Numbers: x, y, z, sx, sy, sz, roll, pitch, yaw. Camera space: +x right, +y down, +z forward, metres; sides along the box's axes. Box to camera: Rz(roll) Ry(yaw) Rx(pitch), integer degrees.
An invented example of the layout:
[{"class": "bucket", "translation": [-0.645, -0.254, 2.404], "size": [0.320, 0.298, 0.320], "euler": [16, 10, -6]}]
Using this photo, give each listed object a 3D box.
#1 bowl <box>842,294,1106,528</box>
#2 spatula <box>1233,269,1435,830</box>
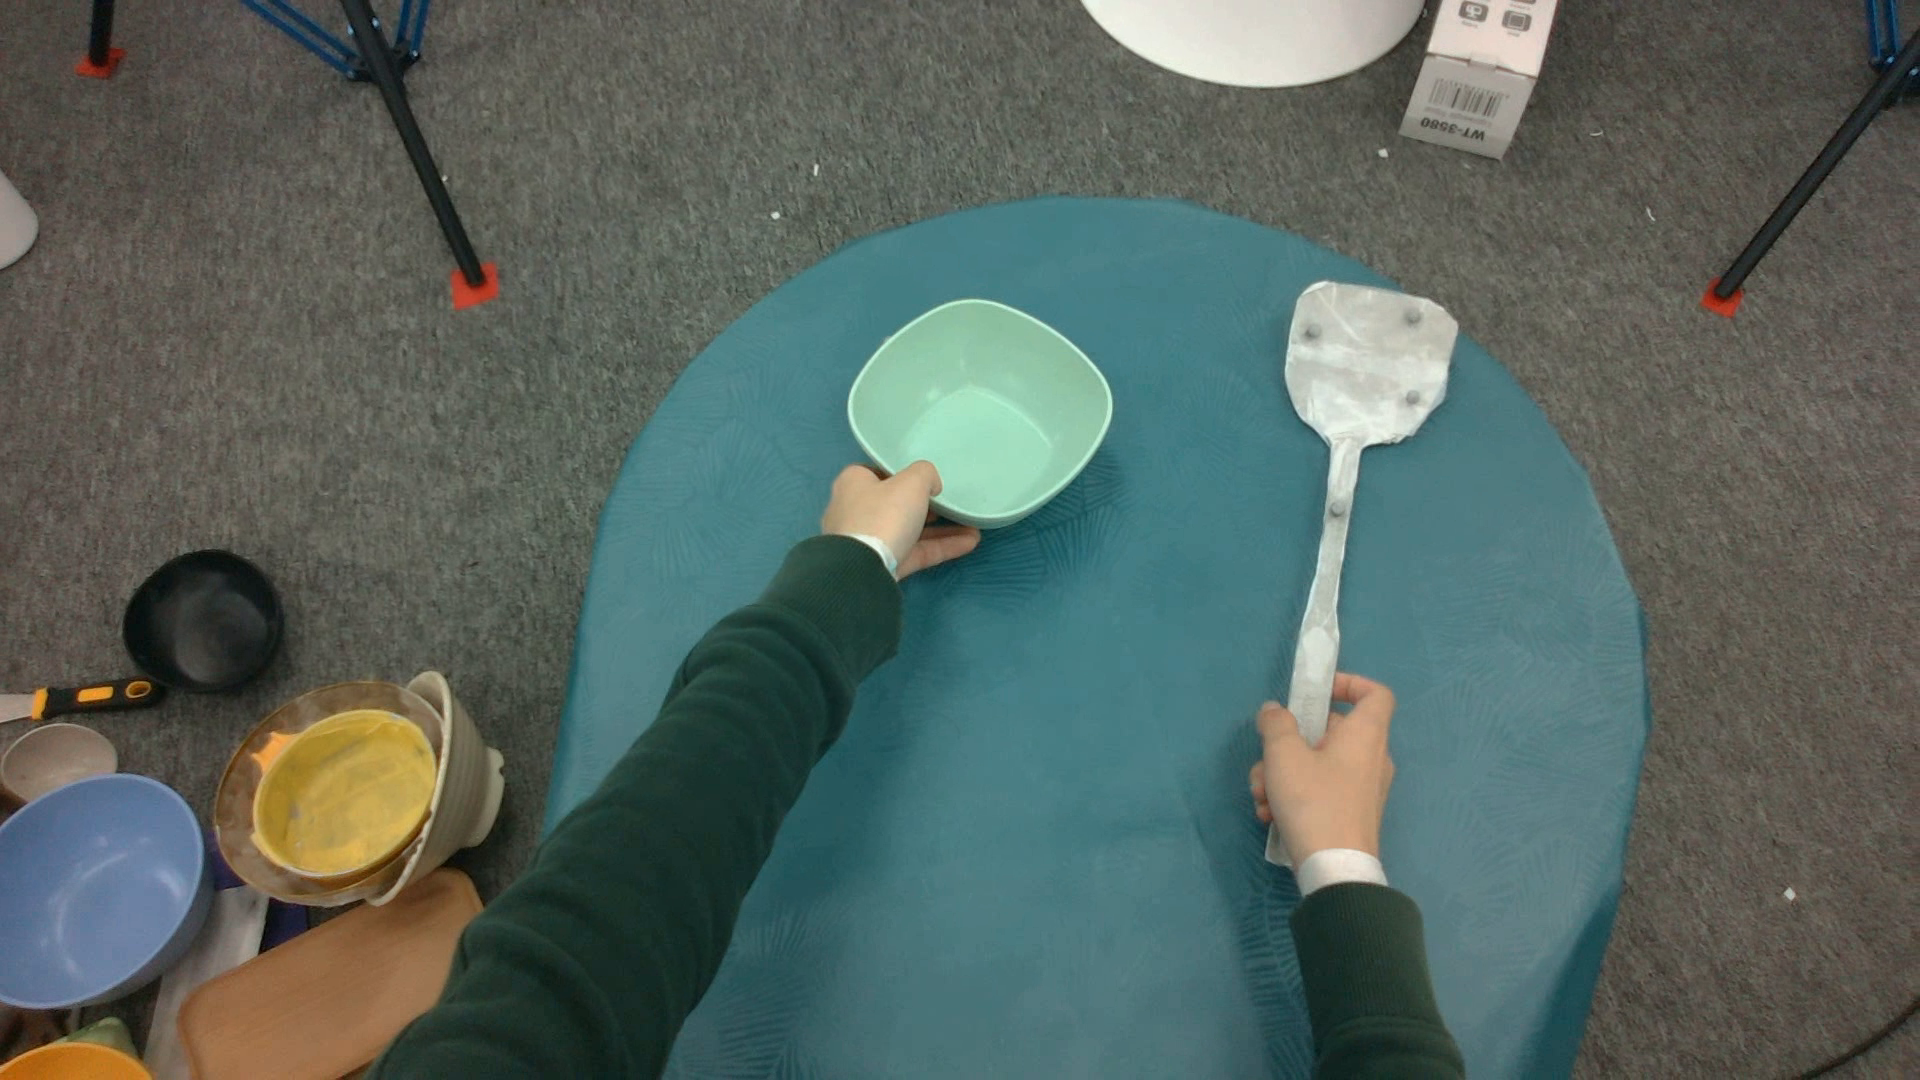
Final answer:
[{"class": "bowl", "translation": [0.008, -0.067, 0.806], "size": [0.151, 0.058, 0.152], "euler": [0, 65, 0]}, {"class": "spatula", "translation": [0.201, -0.007, 0.779], "size": [0.098, 0.044, 0.366], "euler": [15, 58, 6]}]
